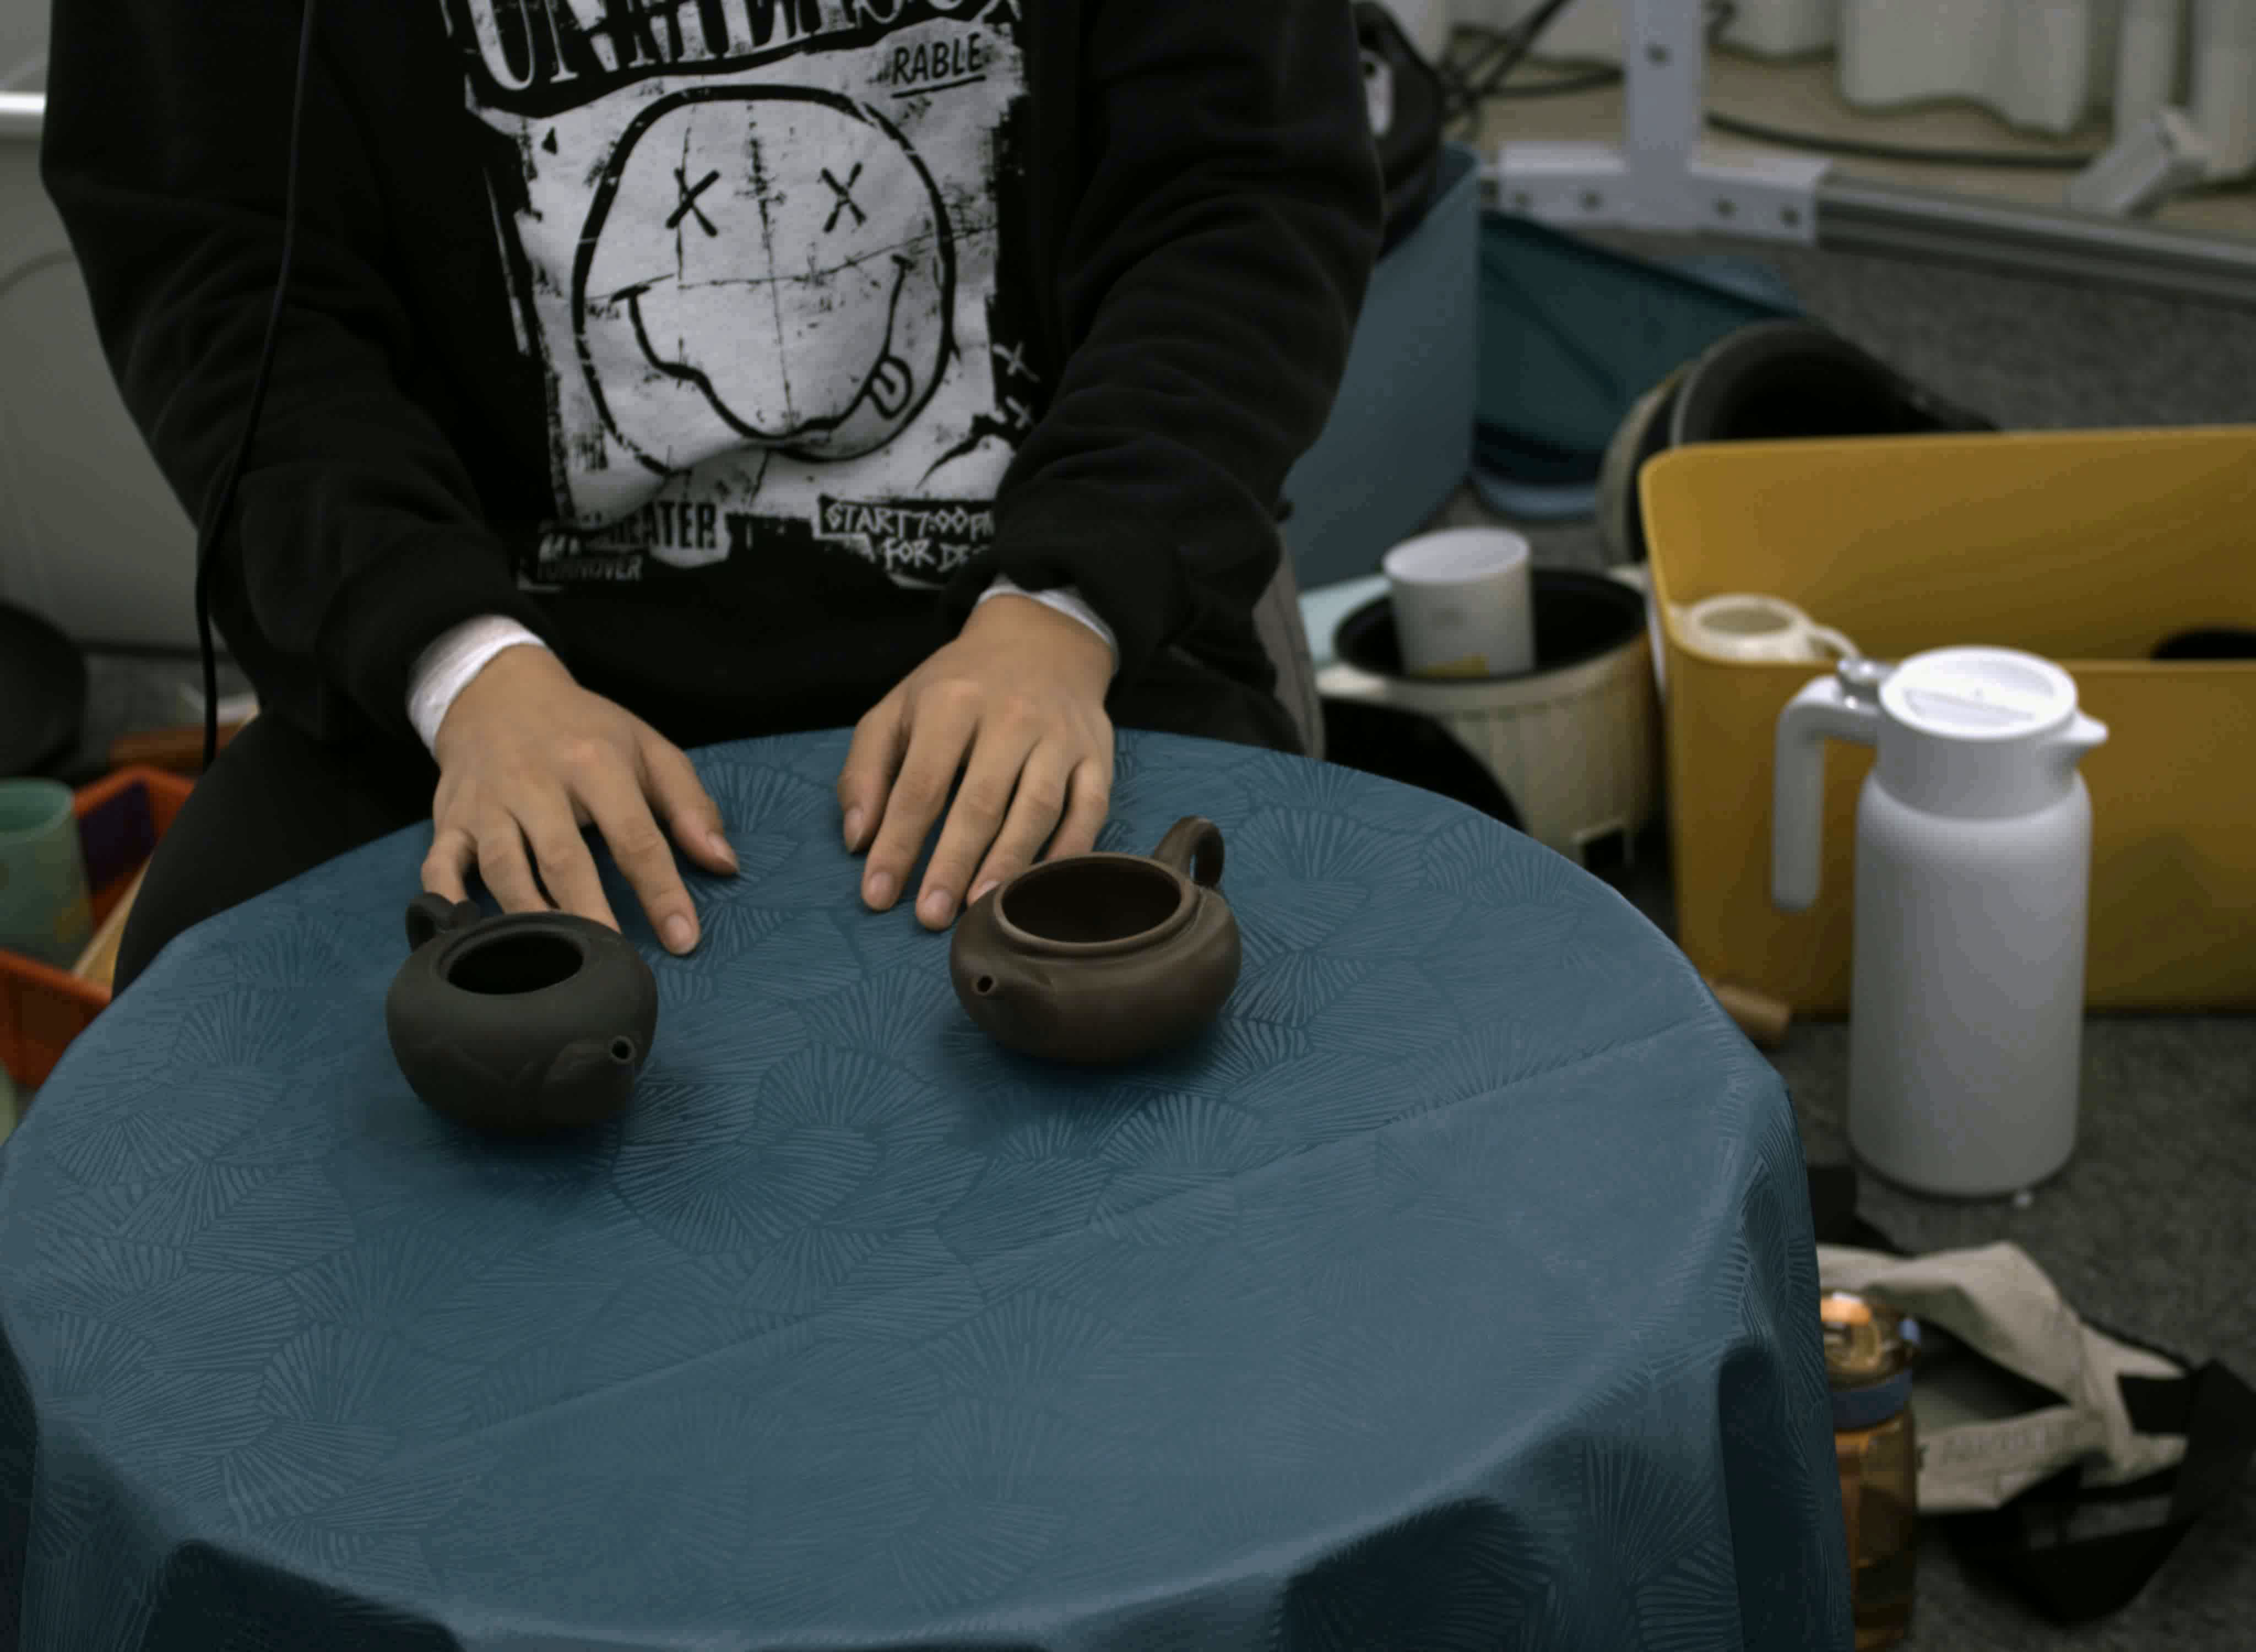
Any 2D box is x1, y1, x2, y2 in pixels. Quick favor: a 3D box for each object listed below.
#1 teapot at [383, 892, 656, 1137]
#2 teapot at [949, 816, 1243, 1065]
[{"bbox_3d":[-0.208,0.066,1.918,0.093,0.064,0.154,-17,31,-30],"label":"teapot"},{"bbox_3d":[-0.009,0.042,1.955,0.102,0.053,0.156,12,31,23],"label":"teapot"}]
